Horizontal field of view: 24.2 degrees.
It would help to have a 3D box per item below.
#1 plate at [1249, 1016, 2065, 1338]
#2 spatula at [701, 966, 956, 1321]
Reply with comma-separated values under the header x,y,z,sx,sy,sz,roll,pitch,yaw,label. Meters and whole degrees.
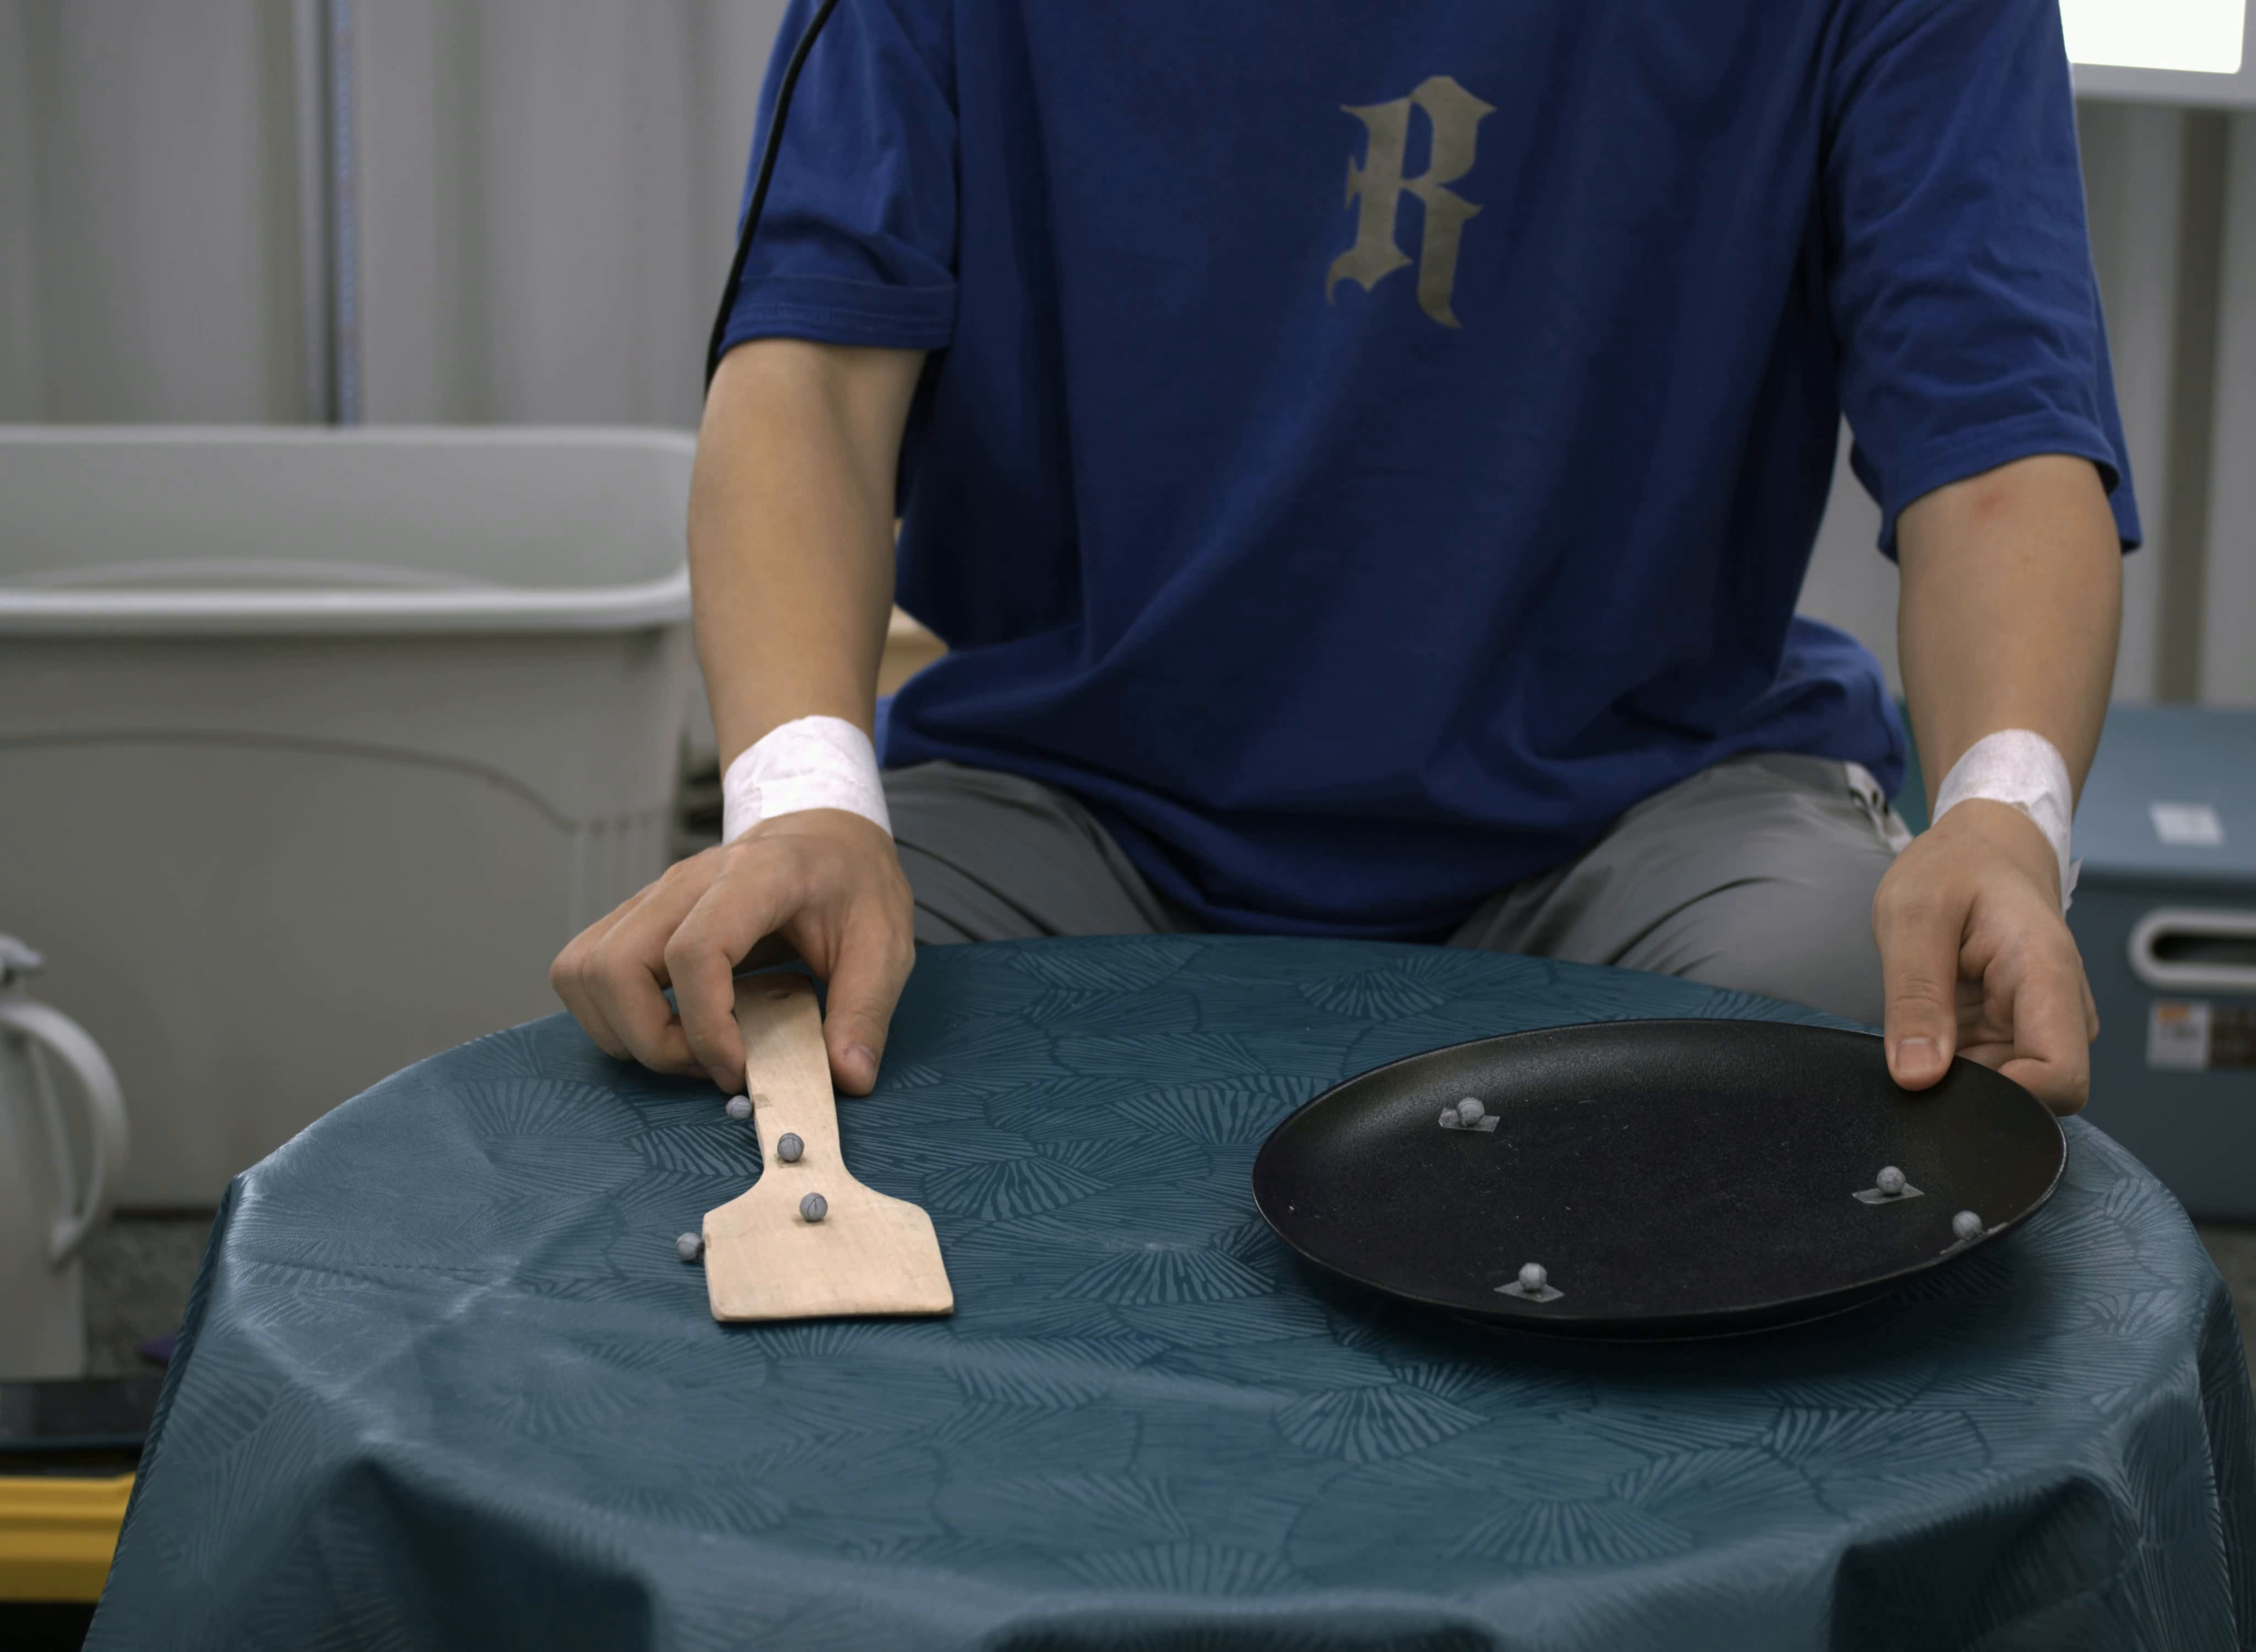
x,y,z,sx,sy,sz,roll,pitch,yaw,label
0.157,0.107,1.574,0.243,0.023,0.243,-4,18,2,plate
-0.102,0.096,1.644,0.072,0.011,0.290,-2,19,-7,spatula
